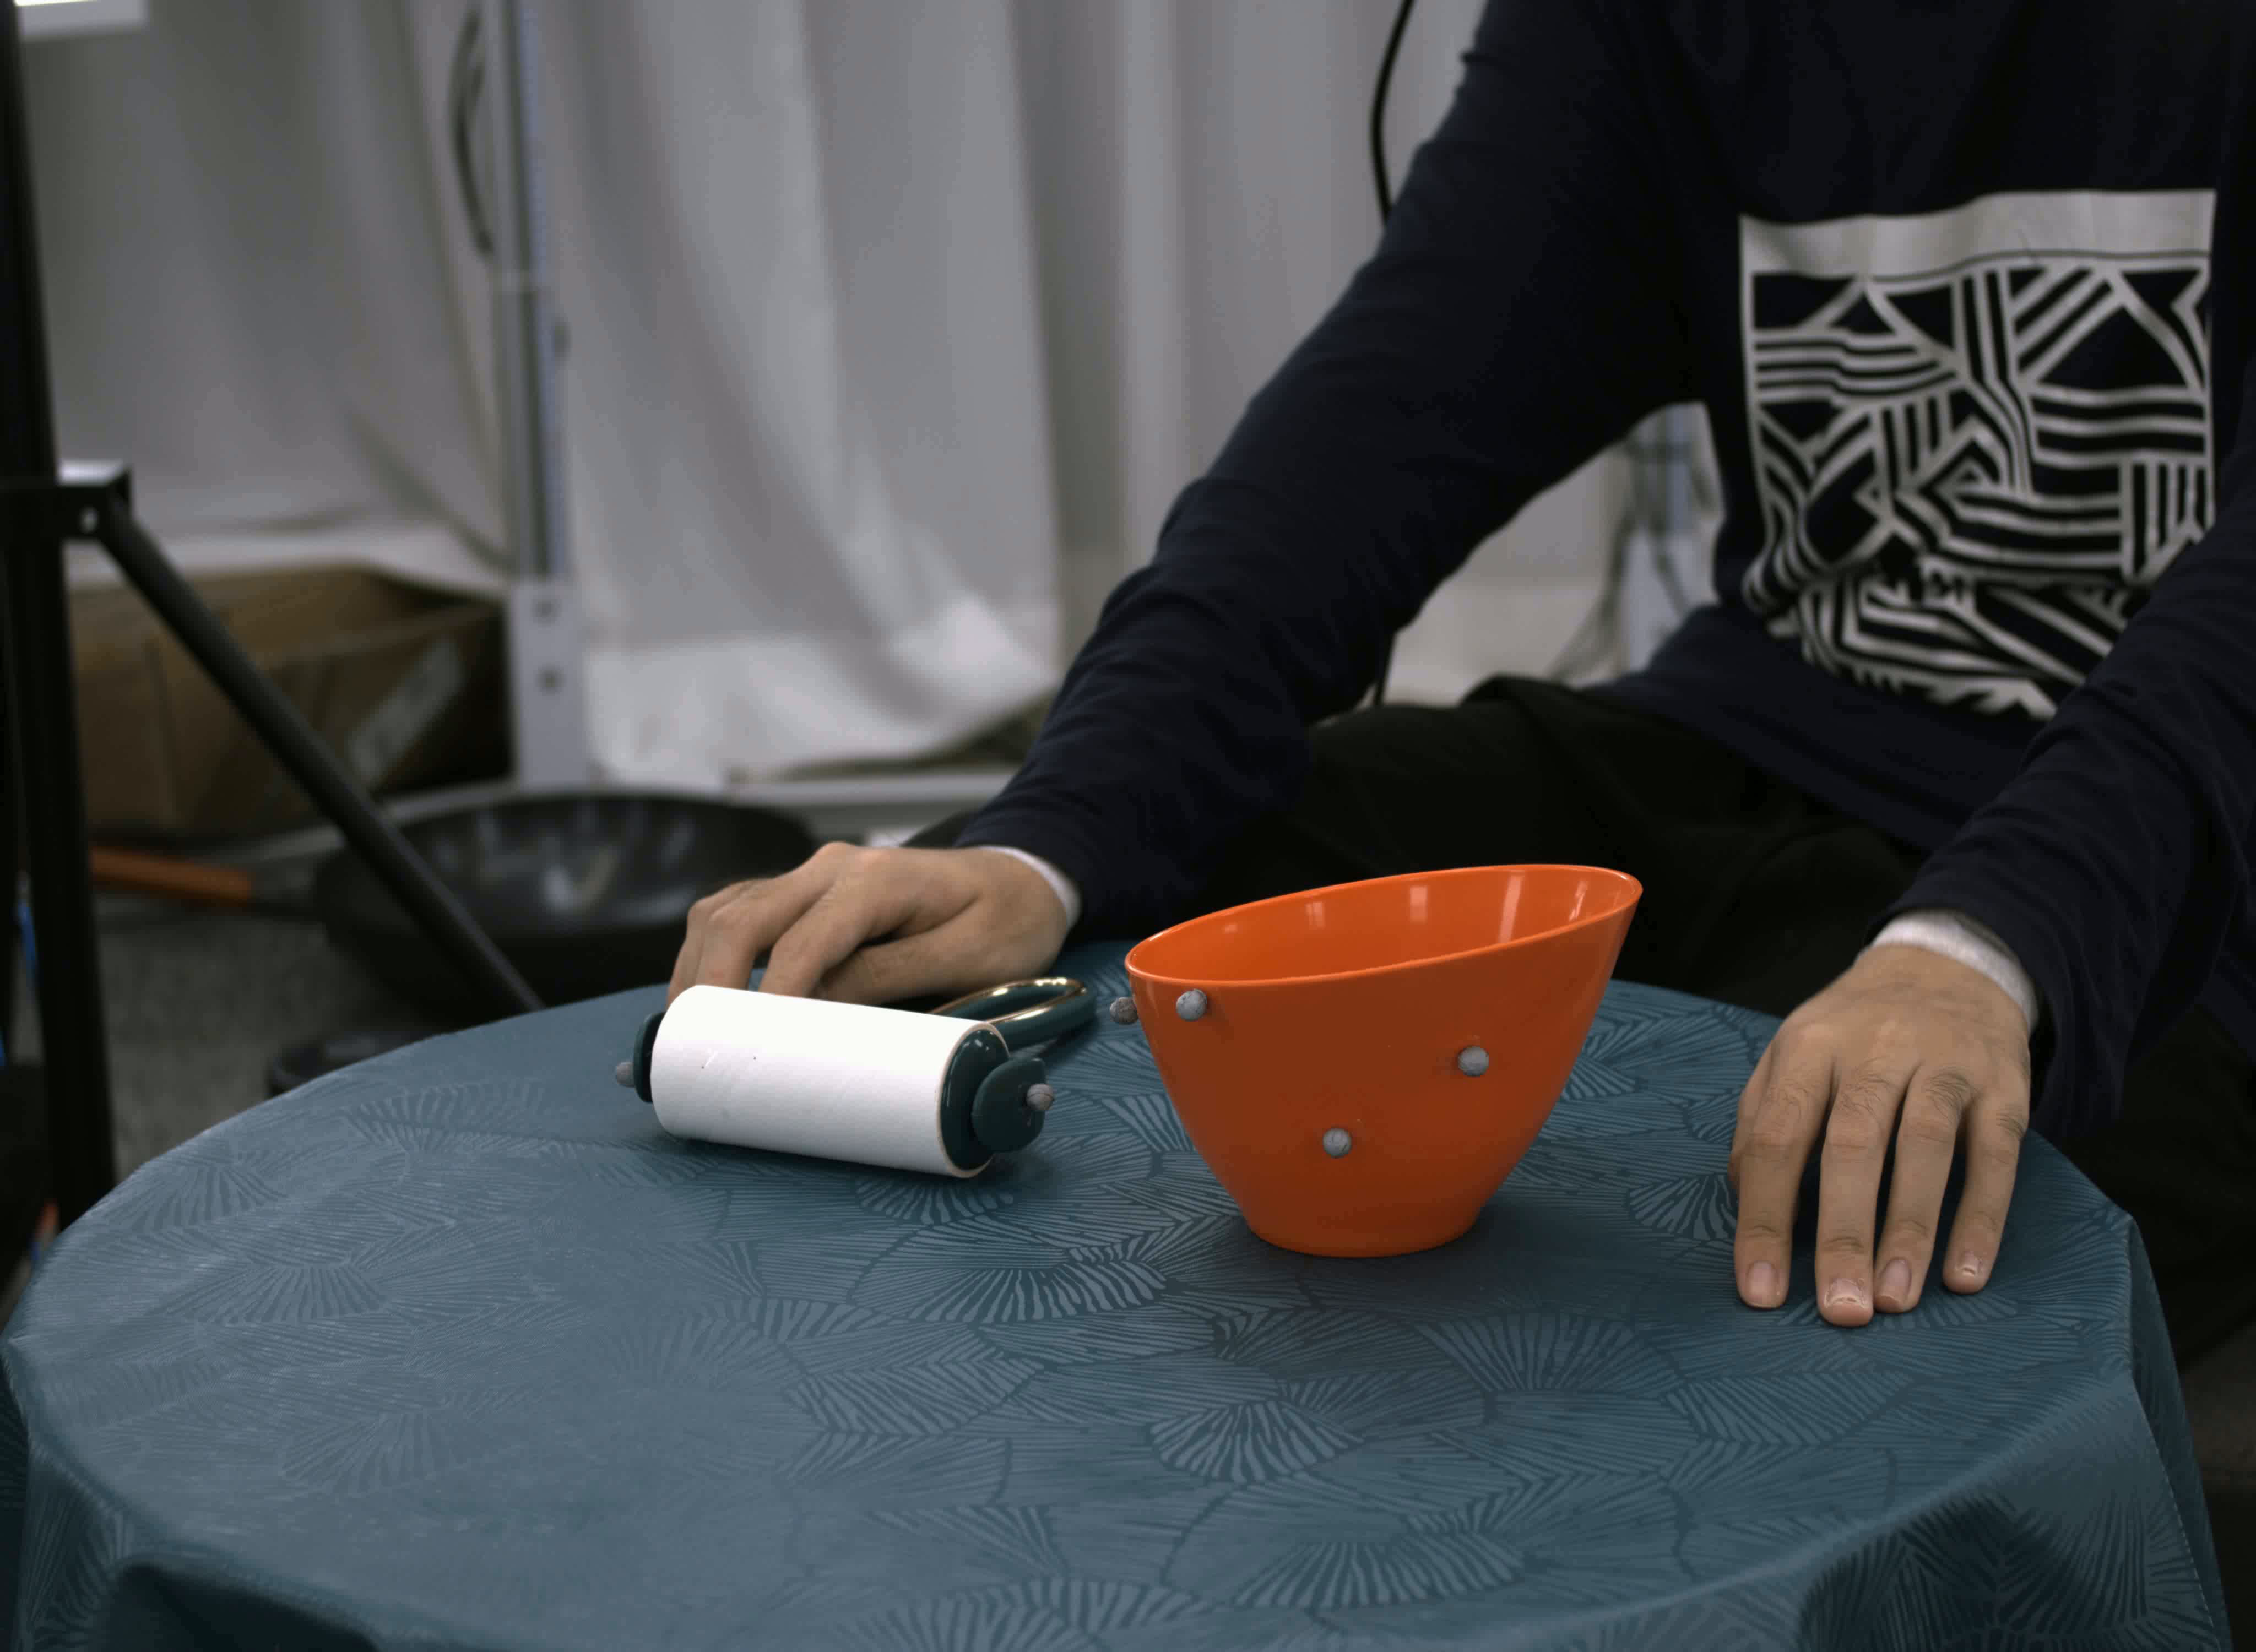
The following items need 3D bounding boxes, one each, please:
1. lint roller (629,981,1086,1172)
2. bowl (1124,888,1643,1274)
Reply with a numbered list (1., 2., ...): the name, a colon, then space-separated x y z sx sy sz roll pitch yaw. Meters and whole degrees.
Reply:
1. lint roller: -0.060 0.064 1.659 0.136 0.048 0.177 5 13 28
2. bowl: 0.072 0.071 1.512 0.147 0.105 0.149 -1 14 -1
